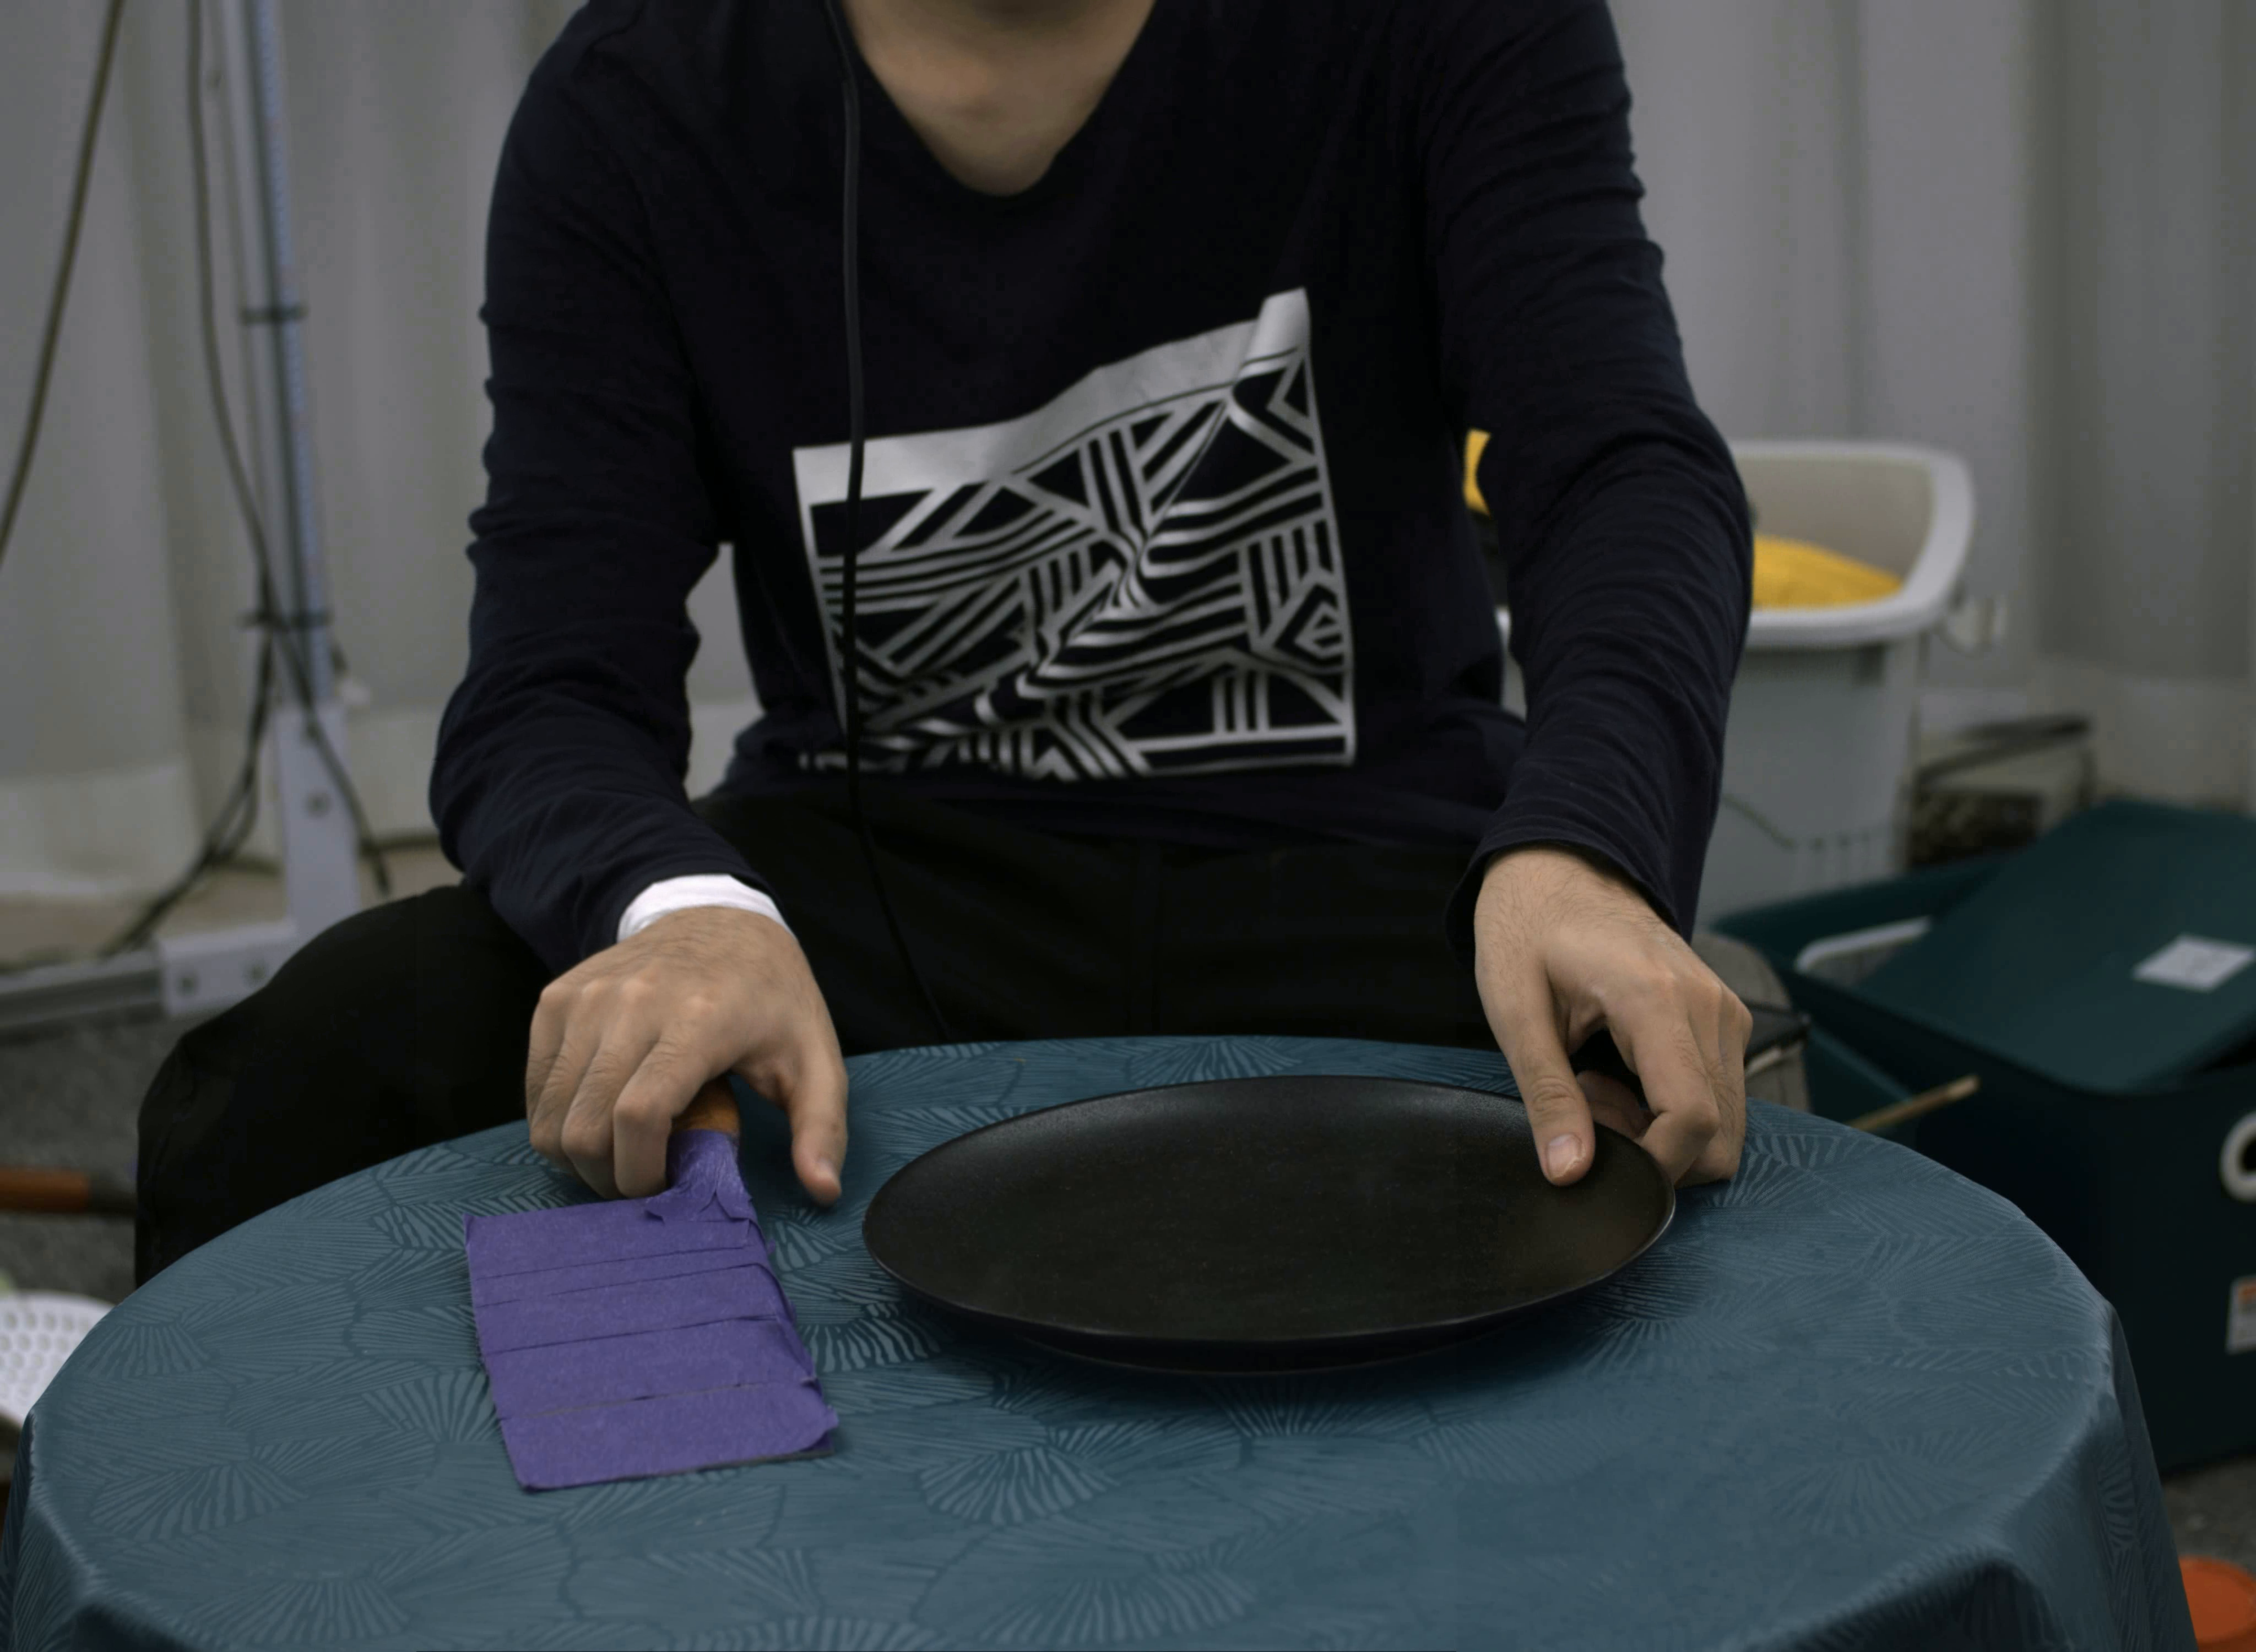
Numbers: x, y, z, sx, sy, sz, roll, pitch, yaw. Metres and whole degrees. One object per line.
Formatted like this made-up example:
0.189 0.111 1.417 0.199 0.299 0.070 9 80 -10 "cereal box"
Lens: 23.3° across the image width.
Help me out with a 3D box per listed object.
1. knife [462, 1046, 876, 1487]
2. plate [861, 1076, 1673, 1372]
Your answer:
-0.151 0.128 1.643 0.103 0.032 0.318 -5 15 -11 "knife"
0.041 0.122 1.639 0.243 0.023 0.246 -3 15 0 "plate"
